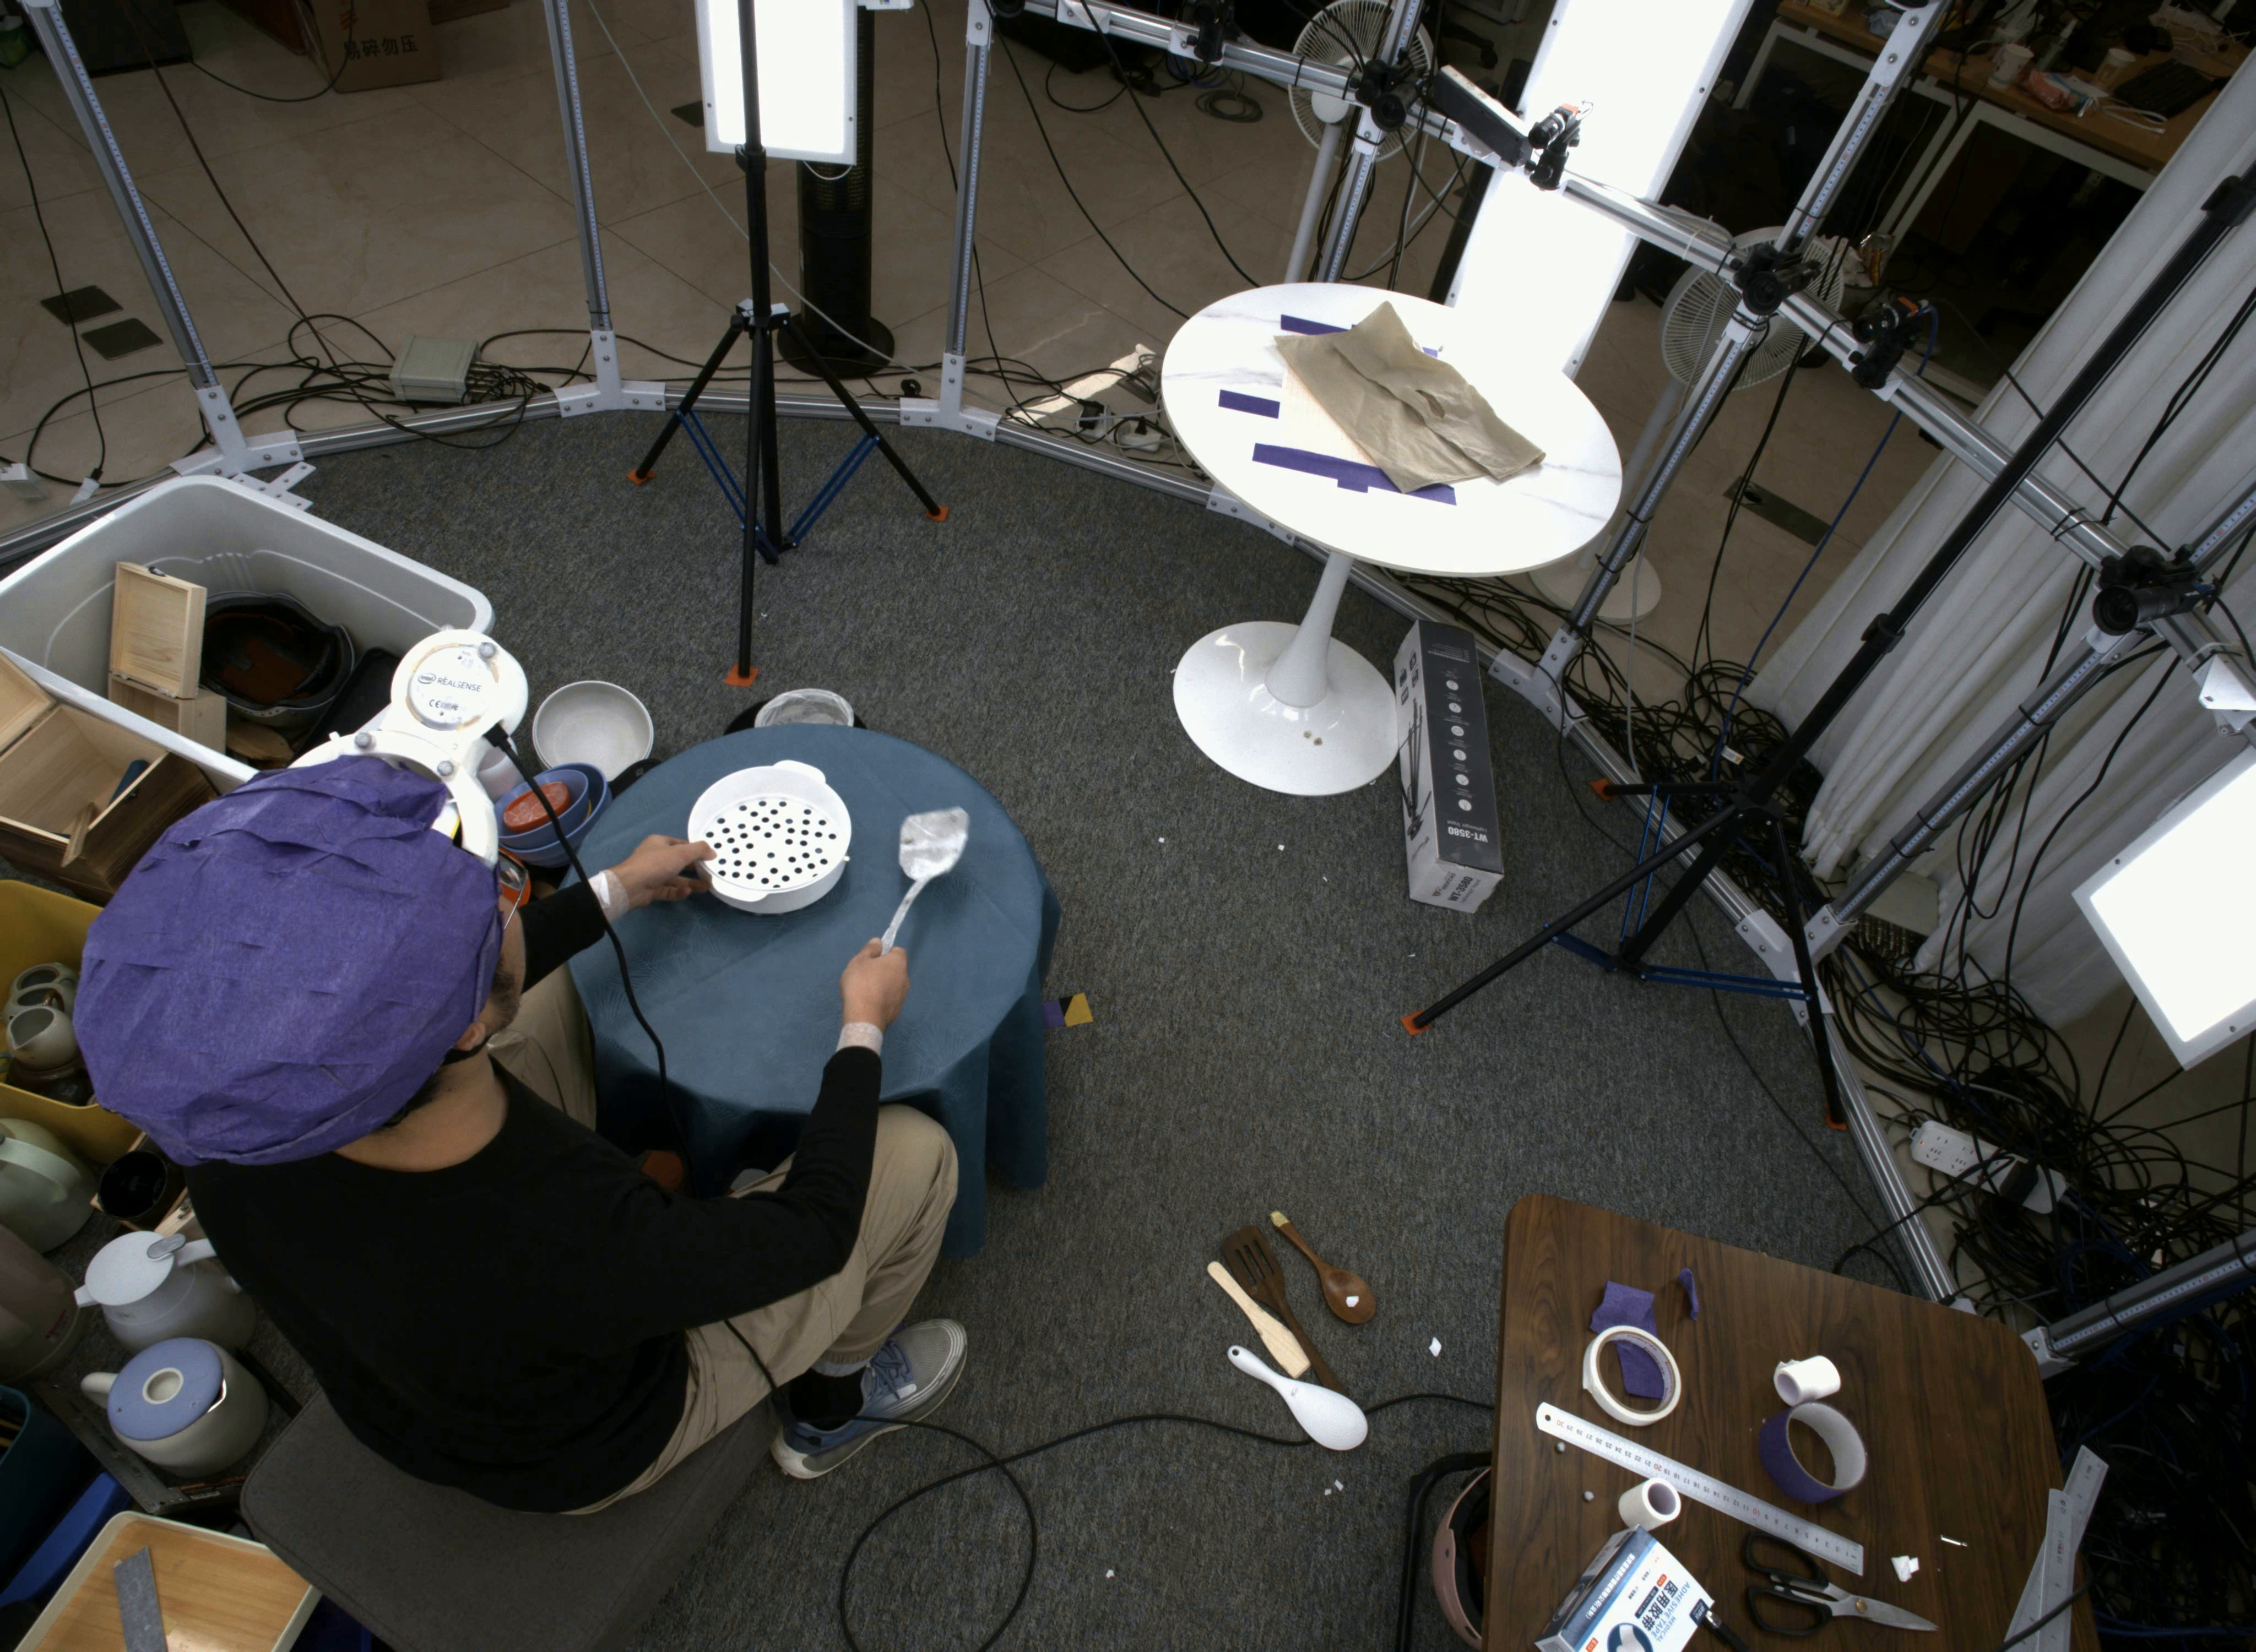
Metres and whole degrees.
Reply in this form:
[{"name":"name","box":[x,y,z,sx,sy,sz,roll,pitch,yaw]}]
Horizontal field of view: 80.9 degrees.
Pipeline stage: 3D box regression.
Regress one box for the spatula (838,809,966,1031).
[{"name":"spatula","box":[-0.283,0.102,1.577,0.096,0.046,0.360,-3,36,16]}]

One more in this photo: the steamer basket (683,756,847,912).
[{"name":"steamer basket","box":[-0.461,0.015,1.651,0.200,0.070,0.228,17,52,-2]}]
